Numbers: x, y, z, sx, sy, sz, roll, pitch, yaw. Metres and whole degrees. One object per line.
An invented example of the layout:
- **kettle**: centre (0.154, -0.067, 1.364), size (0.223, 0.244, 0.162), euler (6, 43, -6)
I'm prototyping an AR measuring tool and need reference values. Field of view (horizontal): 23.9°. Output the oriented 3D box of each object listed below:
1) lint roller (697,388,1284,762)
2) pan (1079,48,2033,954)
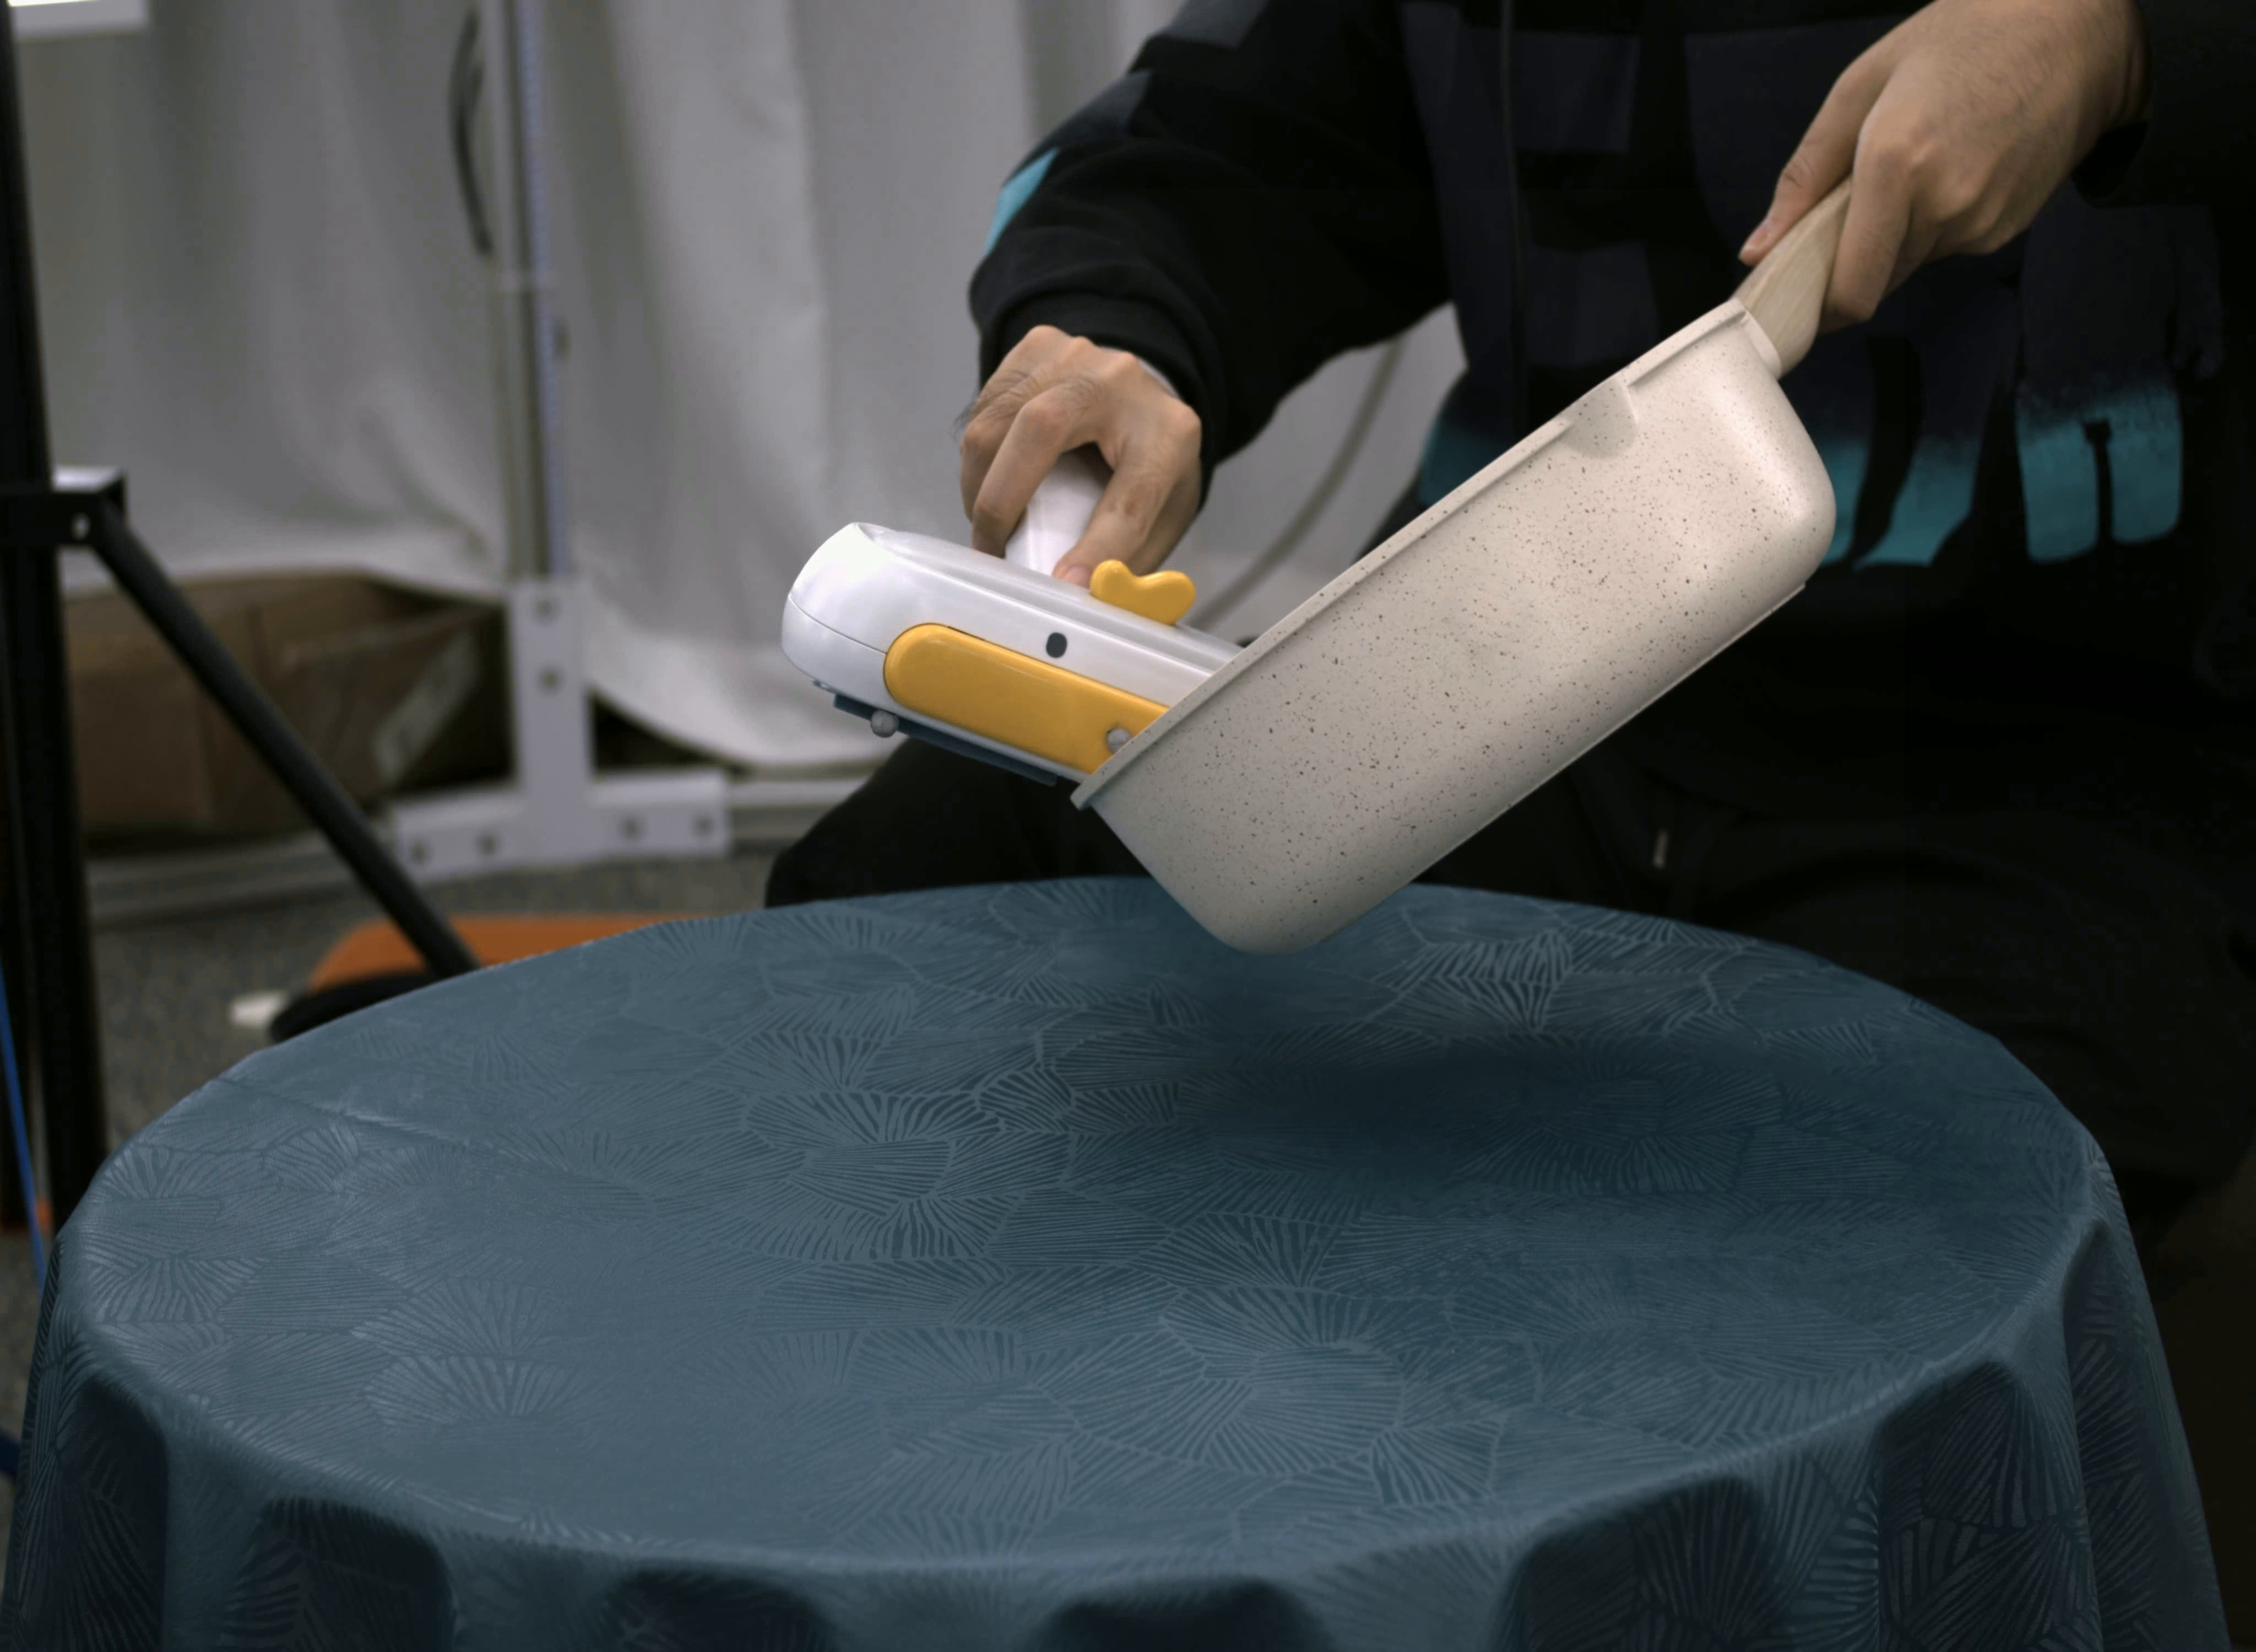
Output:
- **lint roller**: centre (-0.040, -0.082, 1.664), size (0.191, 0.074, 0.194), euler (9, 19, -8)
- **pan**: centre (0.168, -0.105, 1.640), size (0.429, 0.102, 0.266), euler (-36, -5, -30)
